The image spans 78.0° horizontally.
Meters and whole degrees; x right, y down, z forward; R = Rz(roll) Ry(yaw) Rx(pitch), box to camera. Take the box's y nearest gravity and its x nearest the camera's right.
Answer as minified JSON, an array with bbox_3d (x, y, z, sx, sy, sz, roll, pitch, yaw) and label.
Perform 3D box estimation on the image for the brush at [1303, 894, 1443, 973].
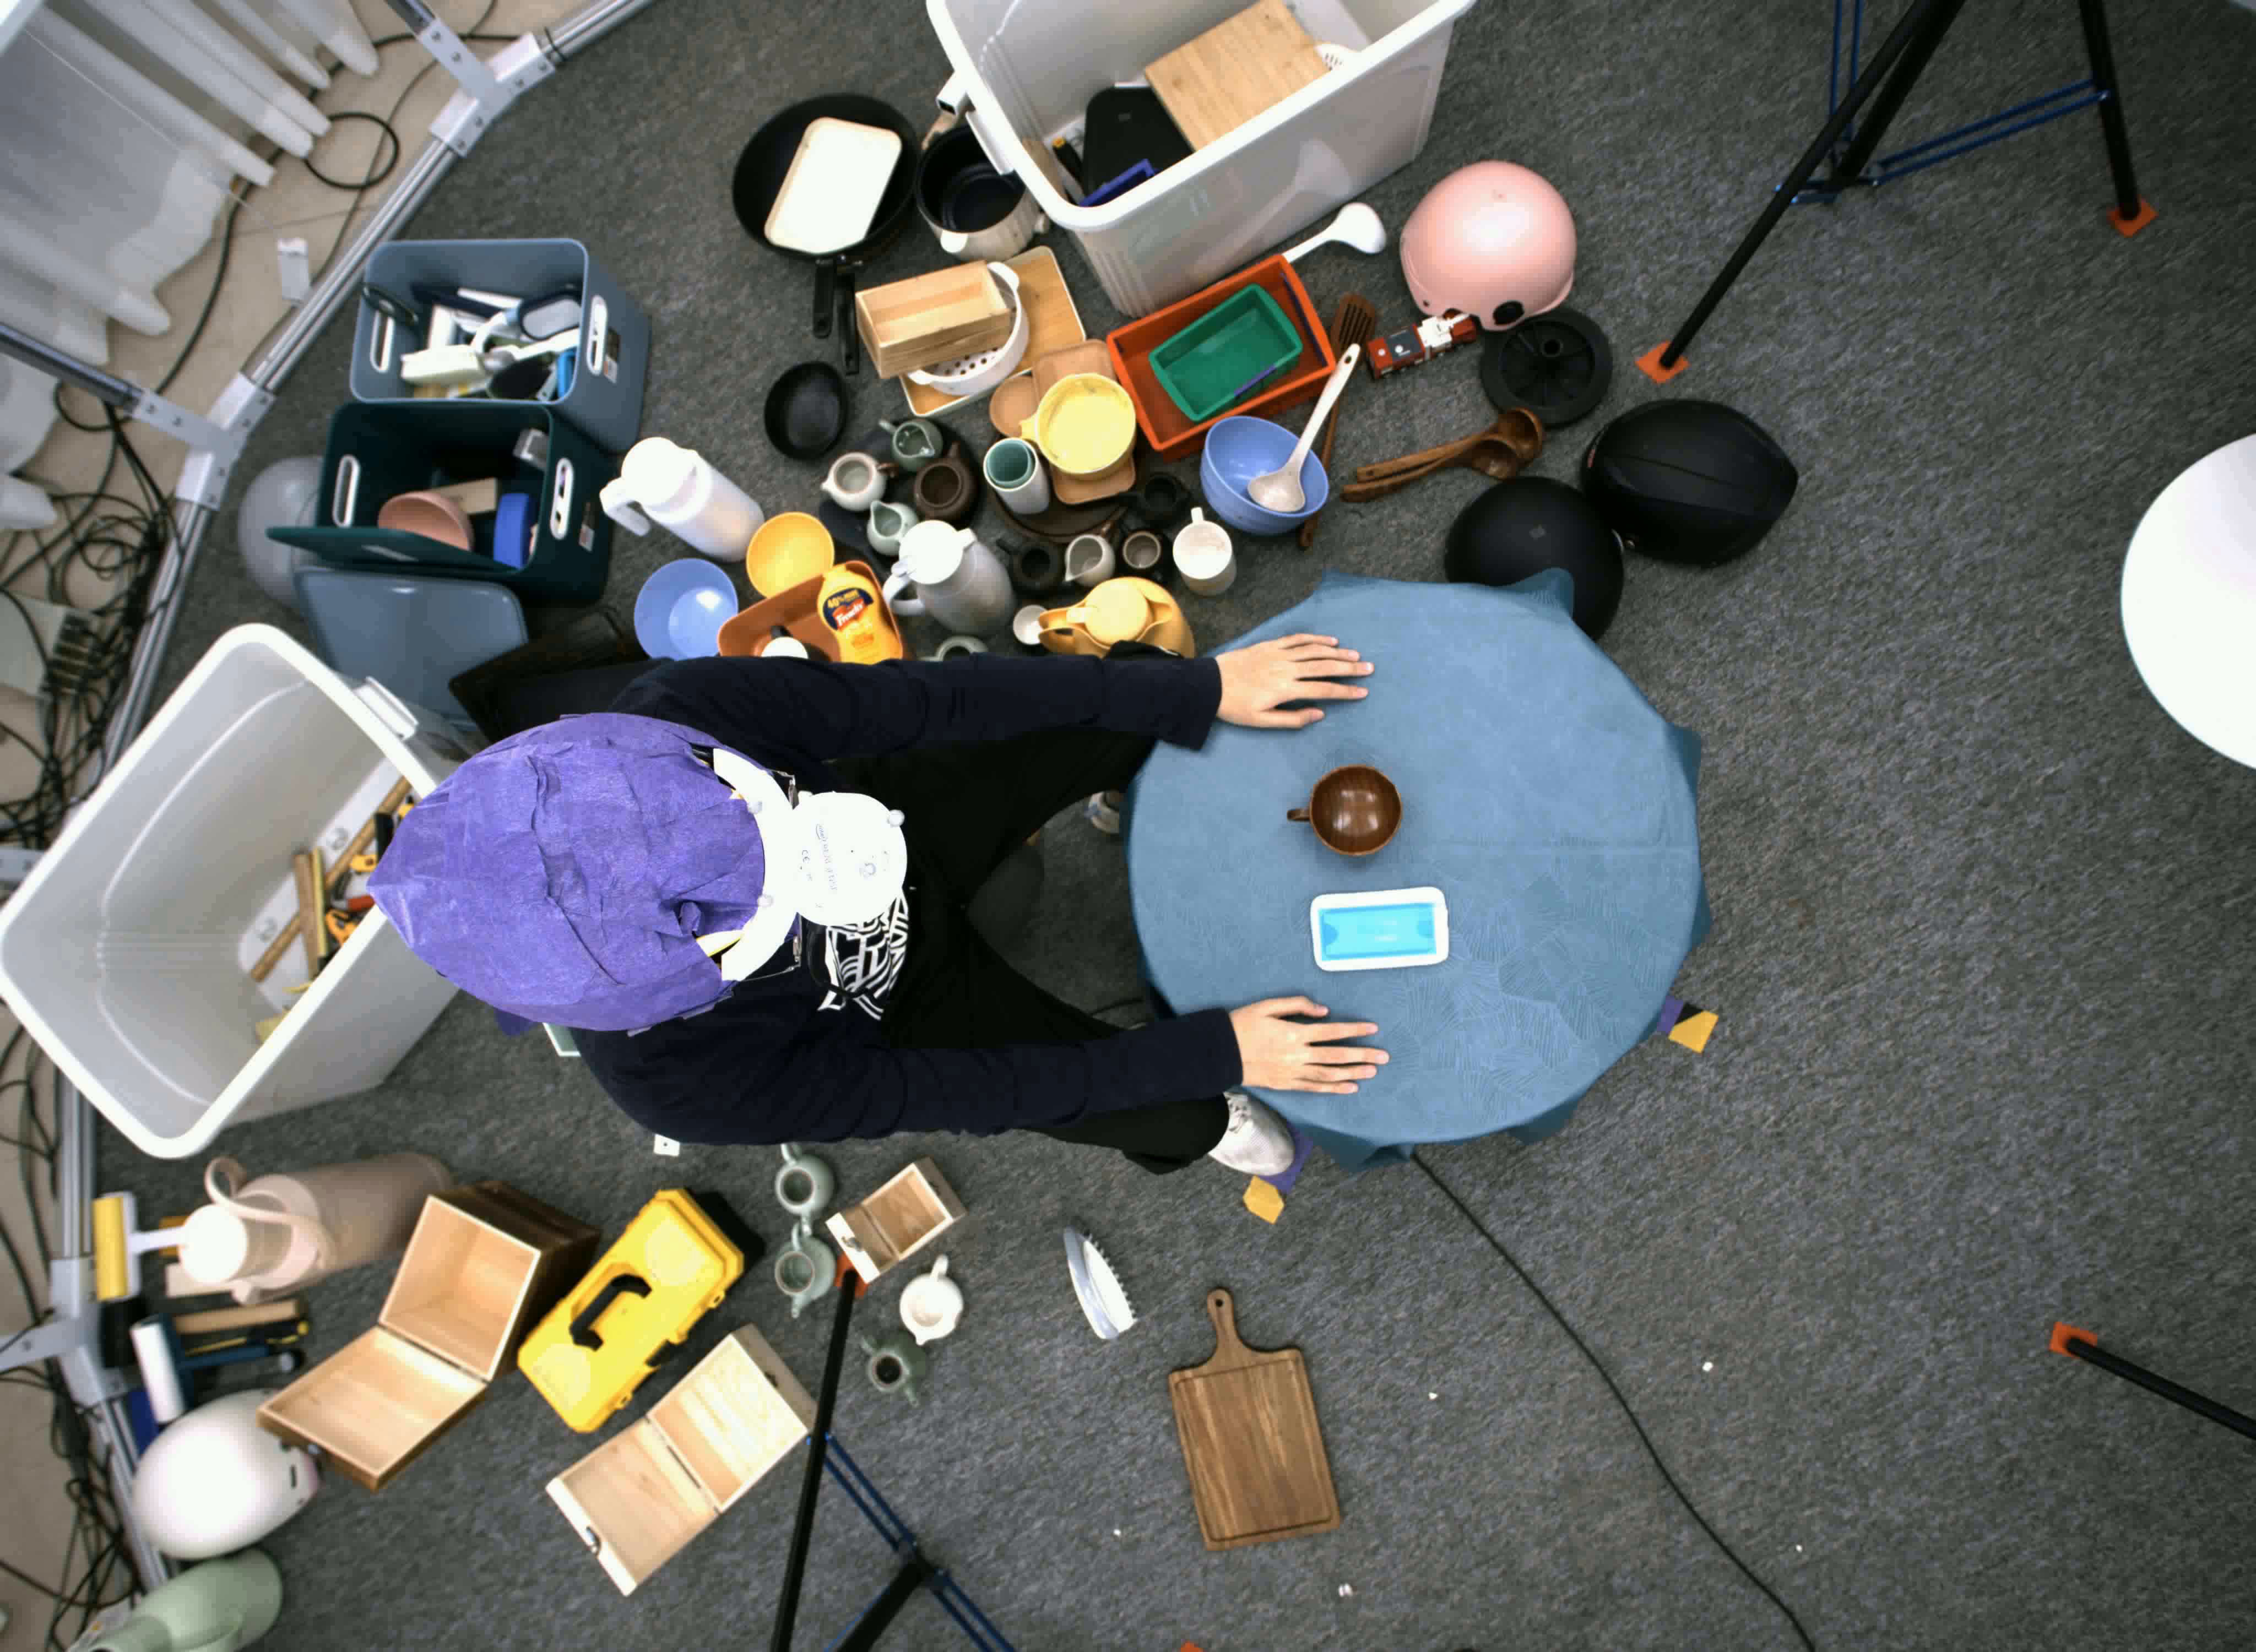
[{"bbox_3d":[0.253,0.107,1.429,0.144,0.056,0.083,-2,83,8],"label":"brush"}]

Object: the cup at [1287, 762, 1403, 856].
[{"bbox_3d":[0.226,-0.016,1.439,0.120,0.067,0.096,-6,89,12],"label":"cup"}]
